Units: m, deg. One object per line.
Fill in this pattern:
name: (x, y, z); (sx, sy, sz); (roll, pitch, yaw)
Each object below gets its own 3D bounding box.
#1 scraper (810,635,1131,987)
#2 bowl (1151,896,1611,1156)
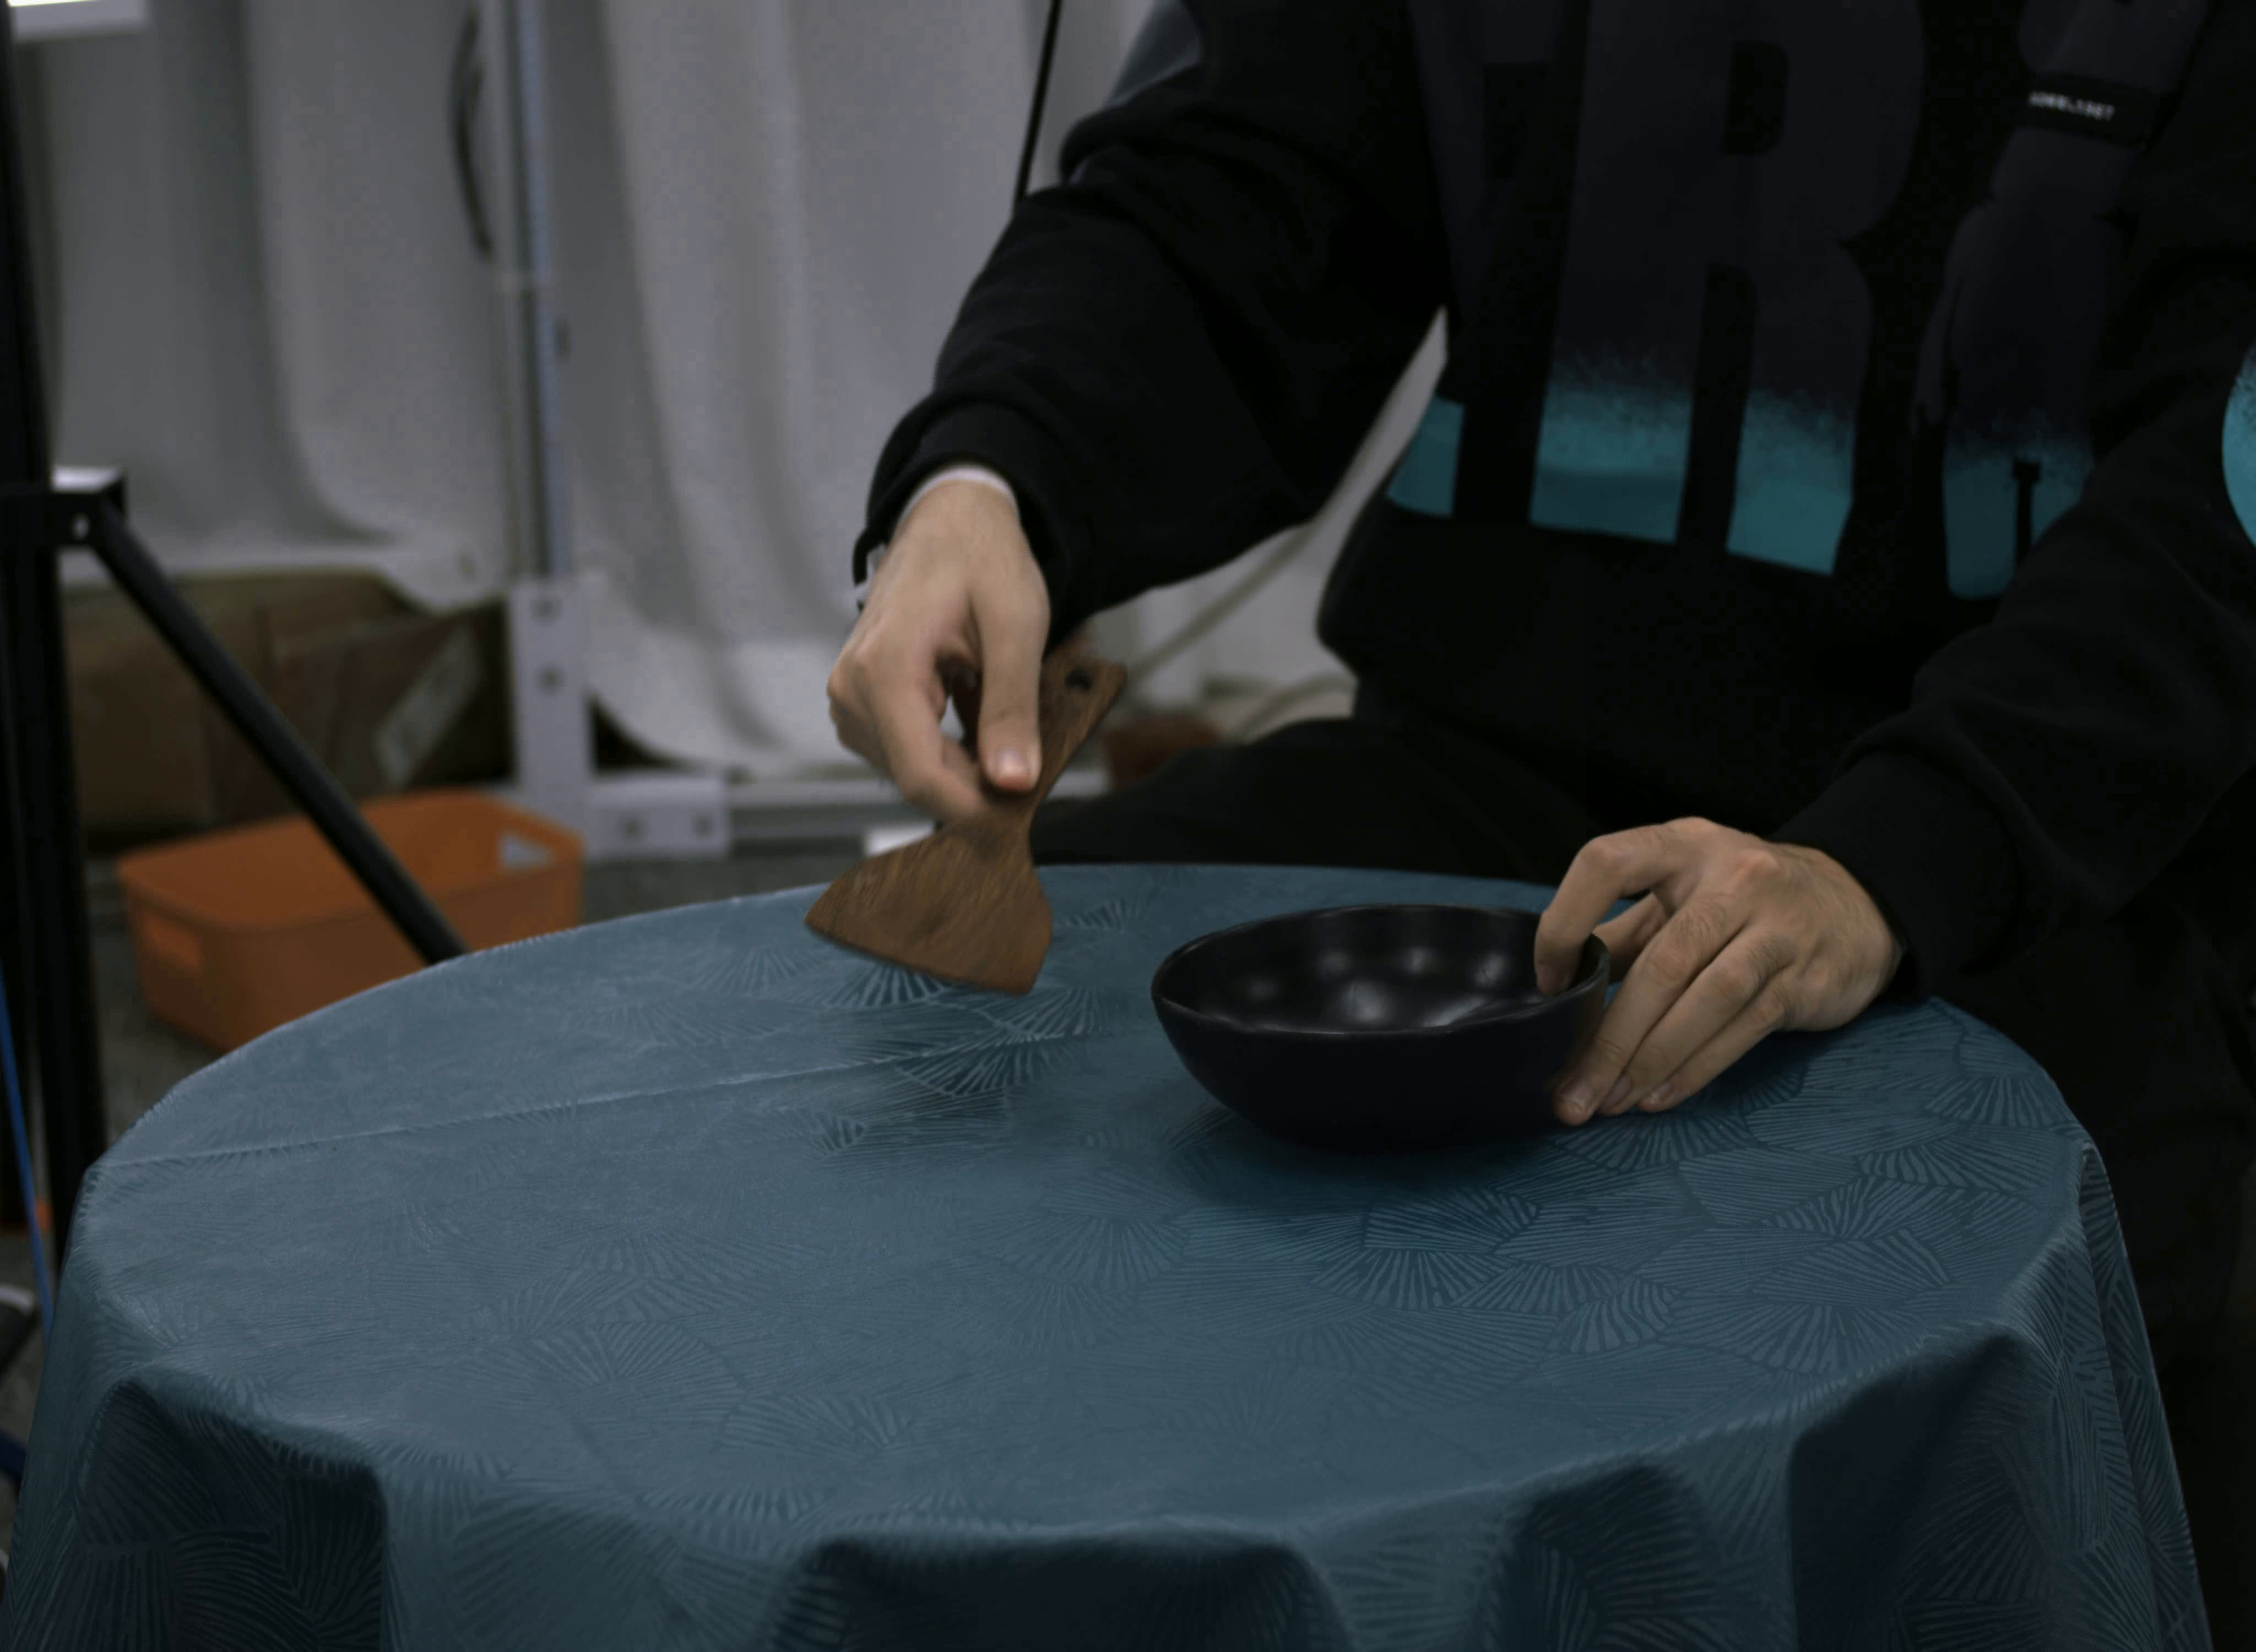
scraper: (-0.038, -0.009, 1.695); (0.076, 0.011, 0.210); (17, 33, 8)
bowl: (0.079, 0.065, 1.601); (0.139, 0.050, 0.141); (-8, 15, 1)
